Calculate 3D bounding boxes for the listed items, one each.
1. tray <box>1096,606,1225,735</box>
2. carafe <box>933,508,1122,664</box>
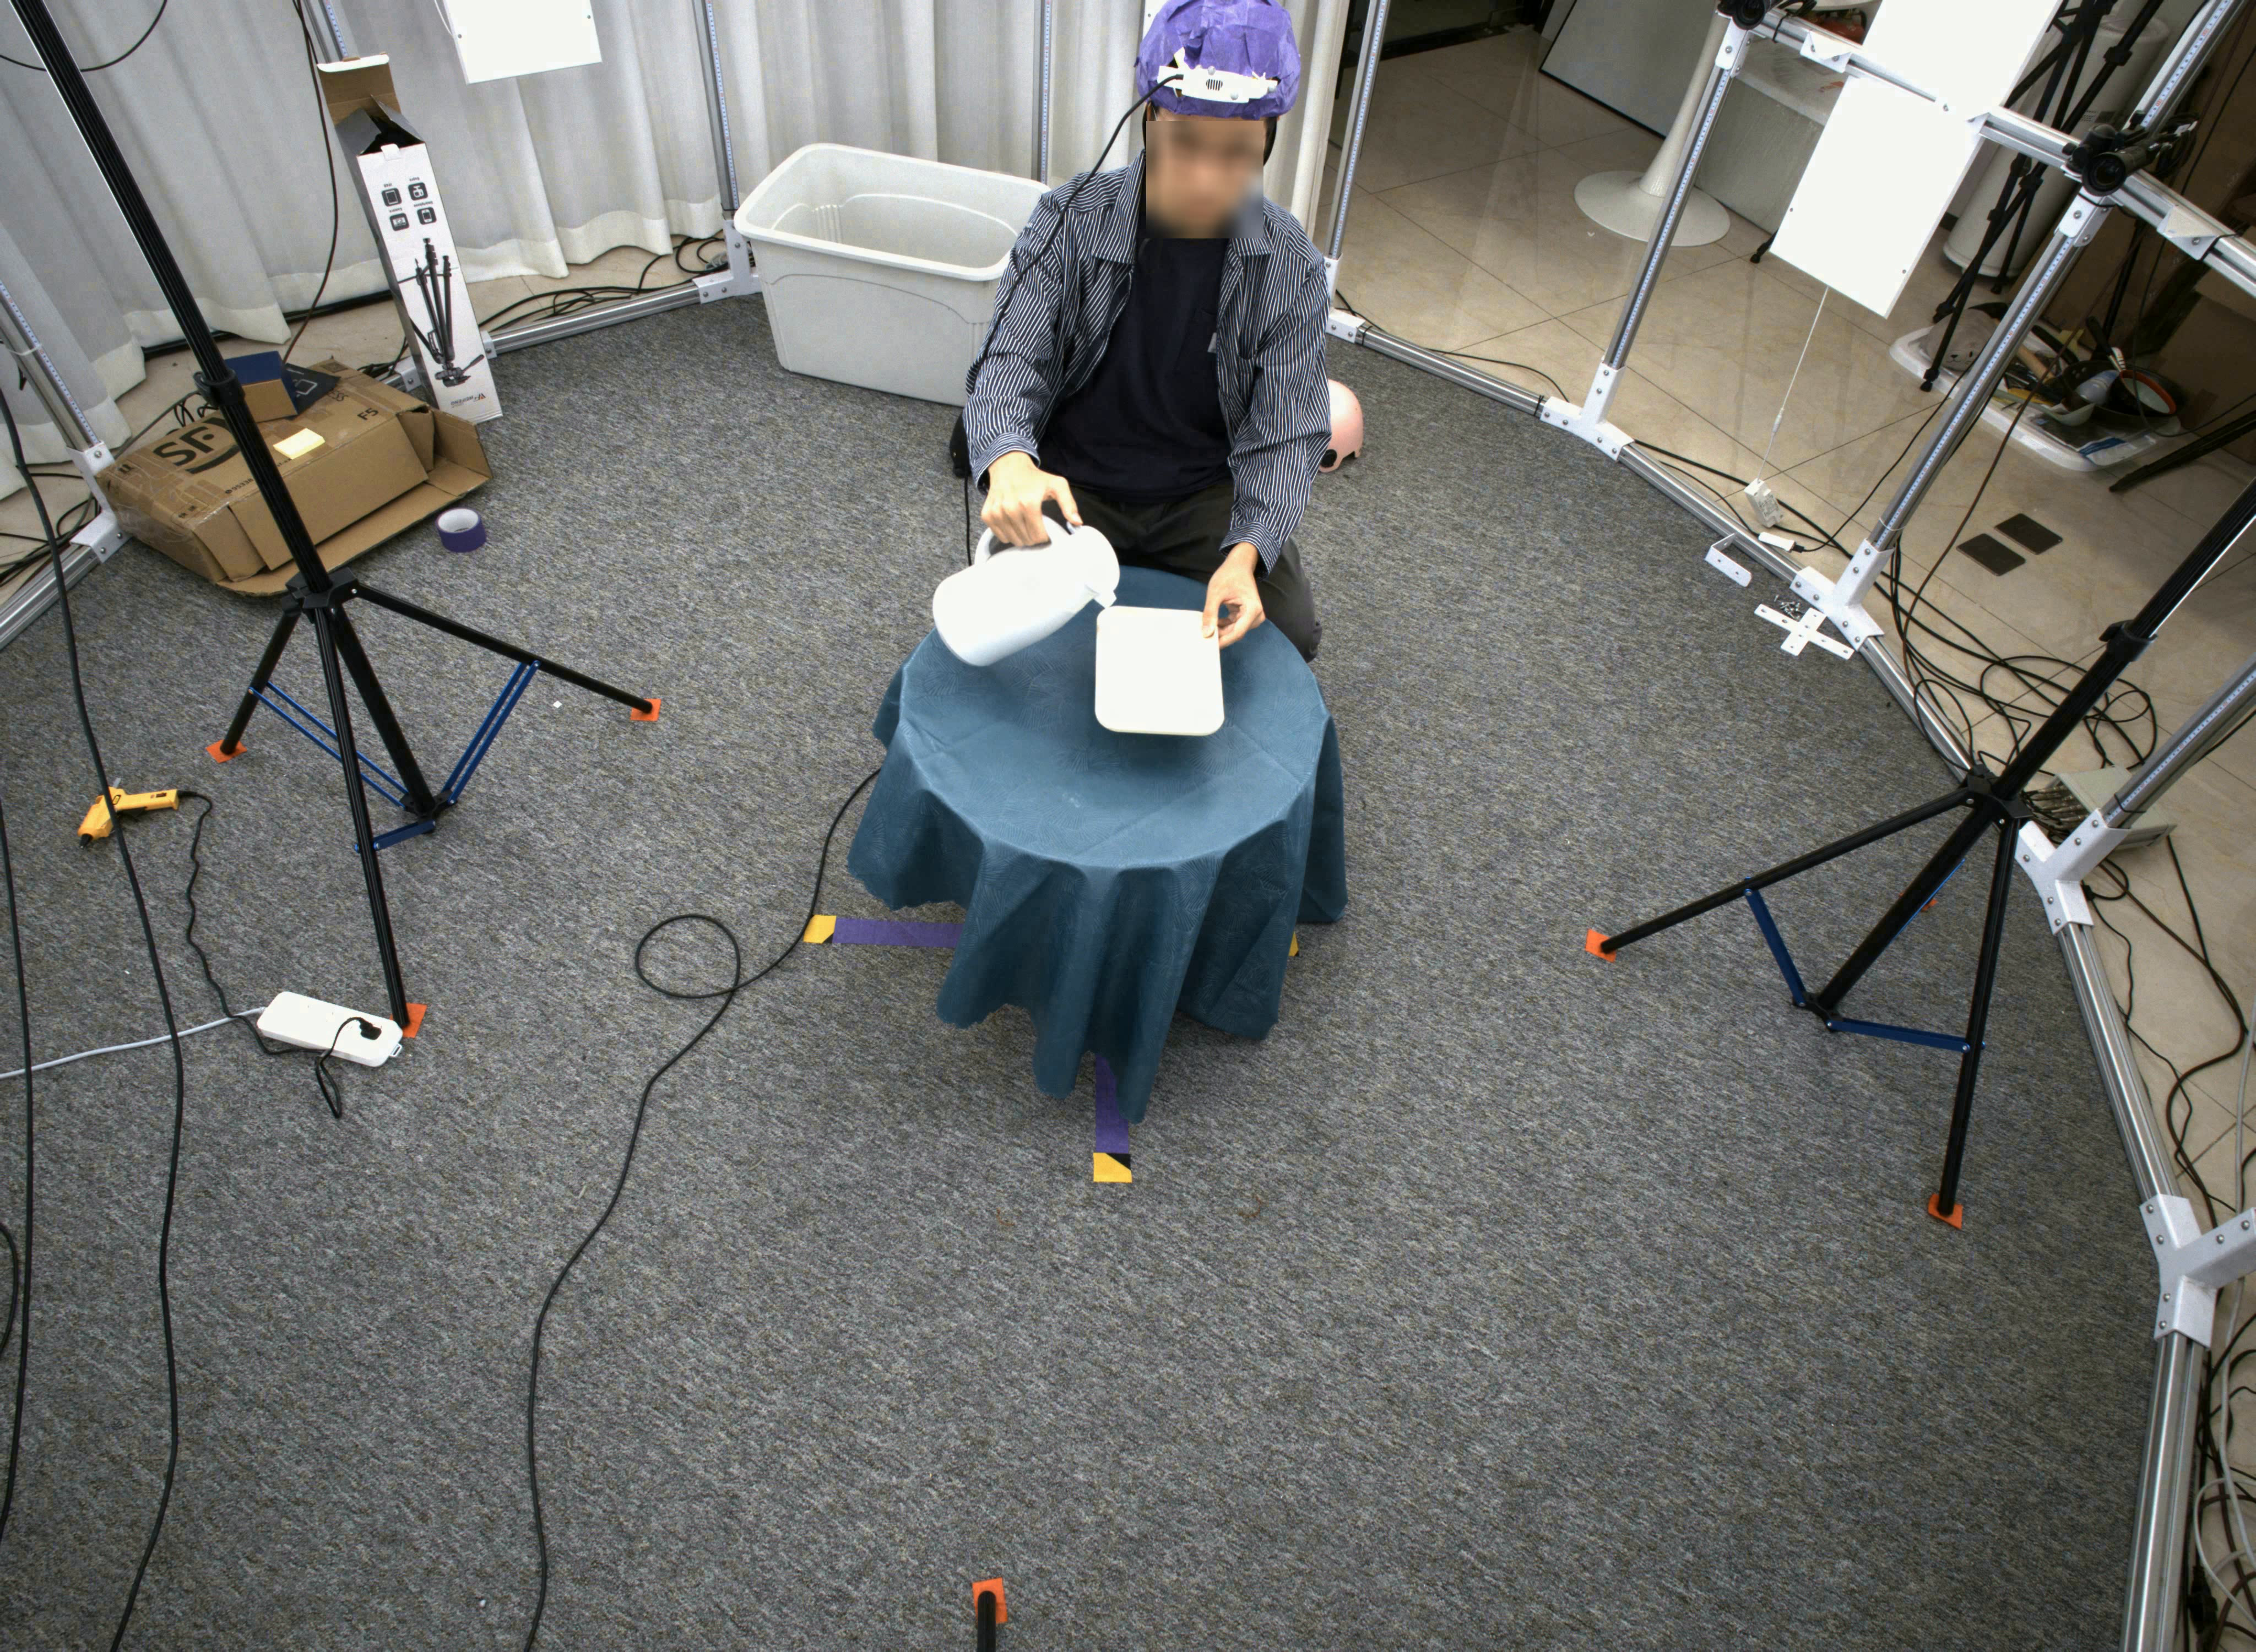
[{"bbox_3d":[0.041,-0.211,1.737,0.171,0.017,0.246,3,48,-5],"label":"tray"},{"bbox_3d":[-0.136,-0.327,1.690,0.247,0.165,0.135,-18,31,38],"label":"carafe"}]
